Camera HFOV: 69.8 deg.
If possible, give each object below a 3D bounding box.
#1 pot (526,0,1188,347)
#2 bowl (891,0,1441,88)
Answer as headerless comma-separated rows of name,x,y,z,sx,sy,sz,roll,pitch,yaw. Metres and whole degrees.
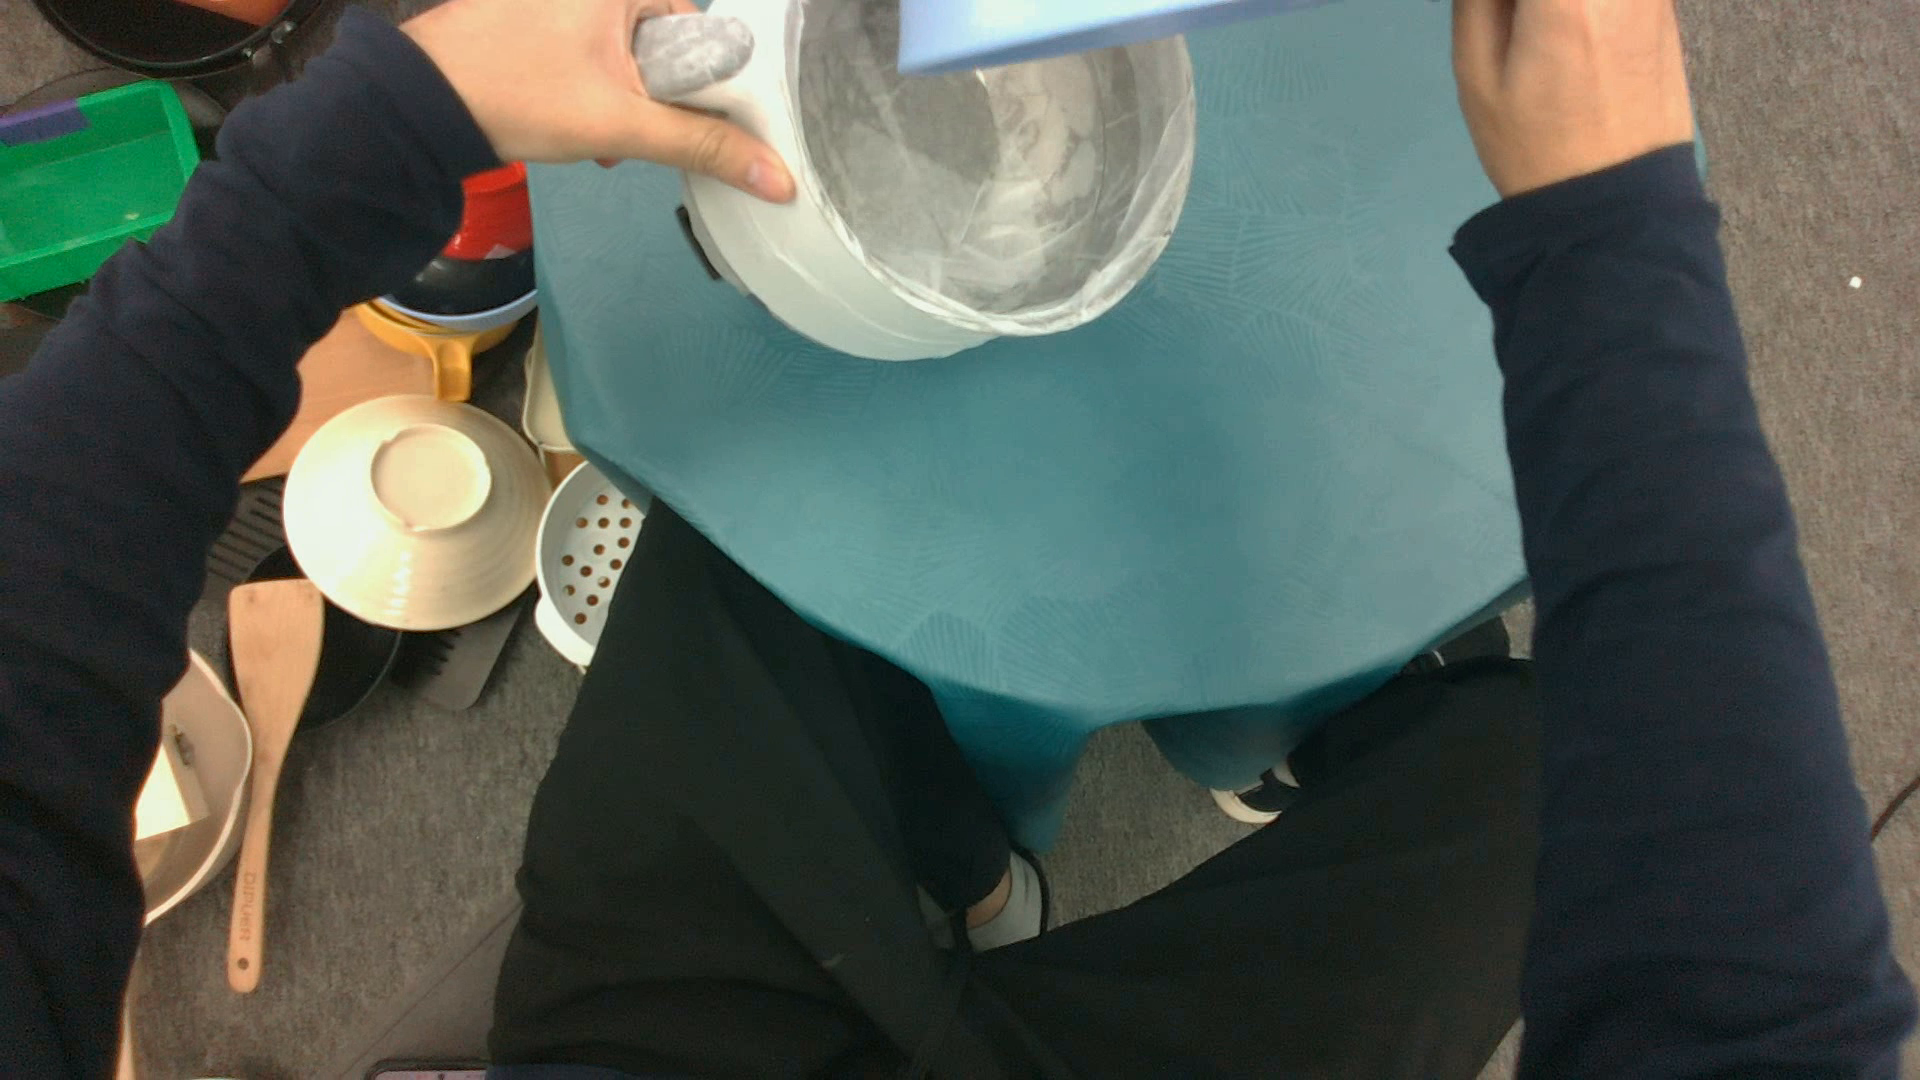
pot,-0.042,-0.169,0.540,0.234,0.136,0.178,-5,91,-31
bowl,0.068,-0.210,0.435,0.196,0.196,0.095,-10,102,-6
